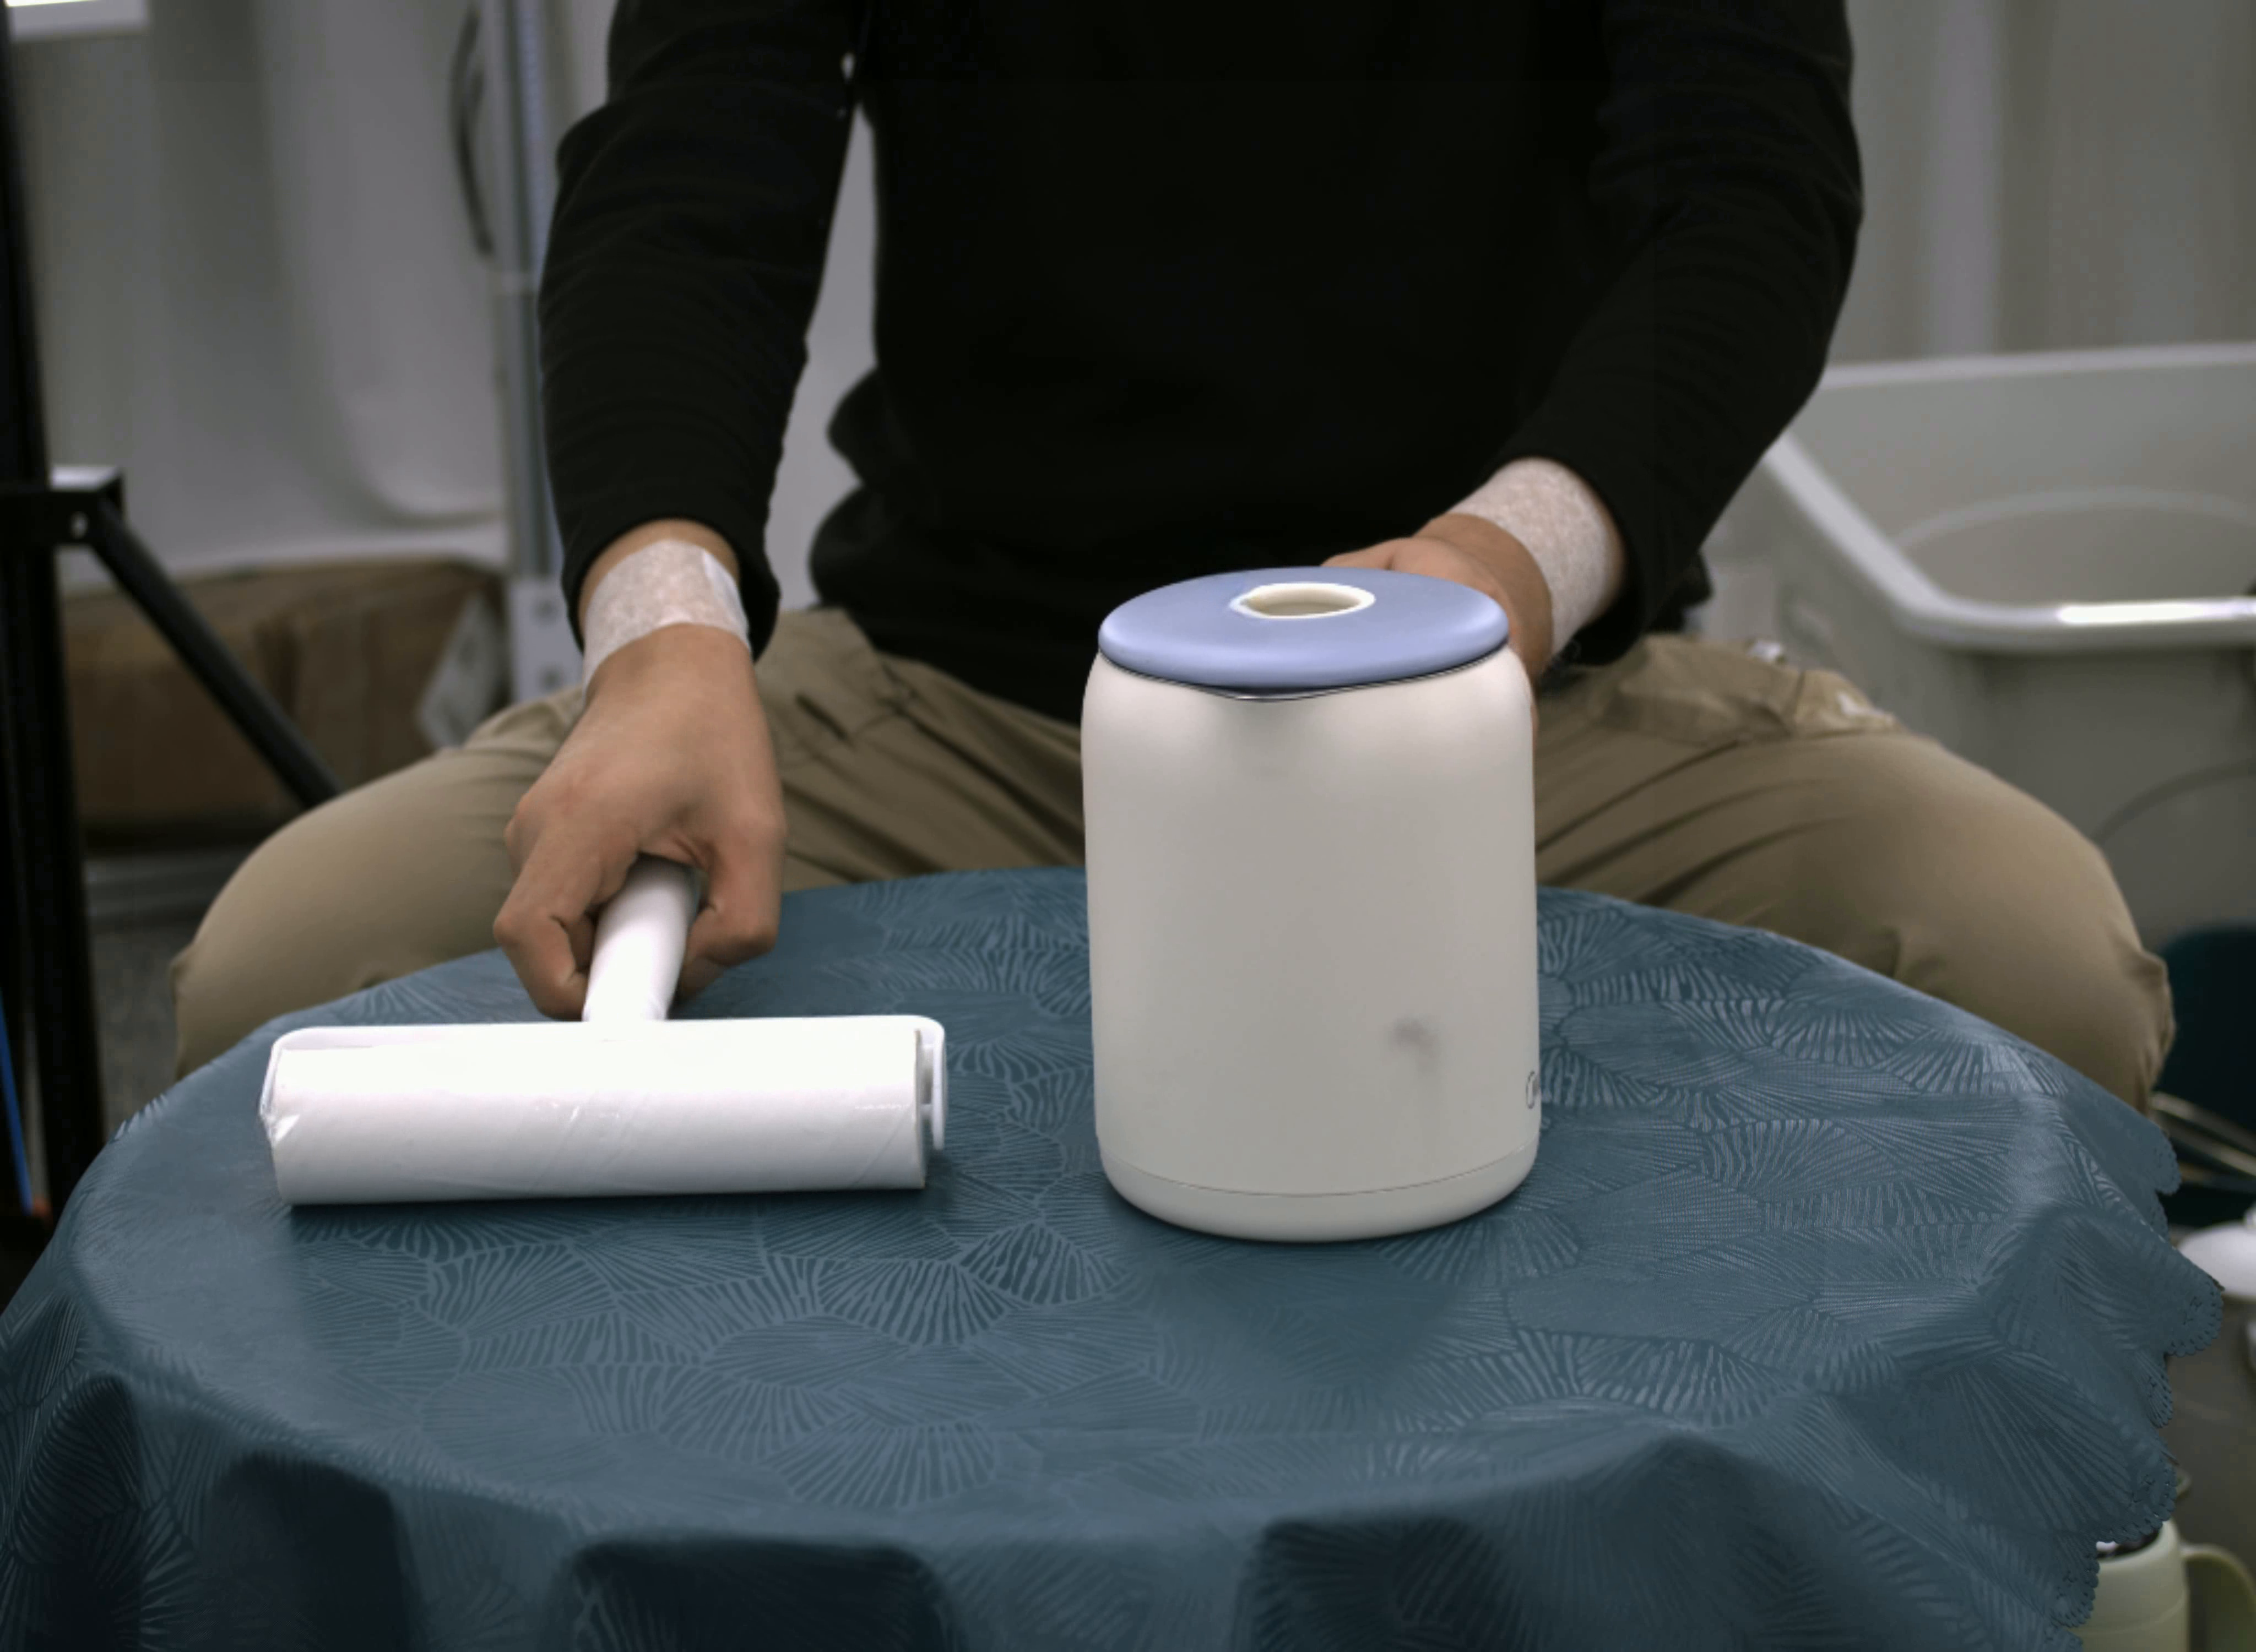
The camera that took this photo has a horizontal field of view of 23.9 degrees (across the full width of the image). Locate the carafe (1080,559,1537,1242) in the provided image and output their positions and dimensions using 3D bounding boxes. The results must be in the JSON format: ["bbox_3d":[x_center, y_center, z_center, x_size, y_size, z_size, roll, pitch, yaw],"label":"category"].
[{"bbox_3d":[0.057,0.014,1.564,0.133,0.182,0.190,1,14,10],"label":"carafe"}]

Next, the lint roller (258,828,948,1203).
[{"bbox_3d":[-0.155,0.047,1.655,0.202,0.048,0.227,-3,26,2],"label":"lint roller"}]
